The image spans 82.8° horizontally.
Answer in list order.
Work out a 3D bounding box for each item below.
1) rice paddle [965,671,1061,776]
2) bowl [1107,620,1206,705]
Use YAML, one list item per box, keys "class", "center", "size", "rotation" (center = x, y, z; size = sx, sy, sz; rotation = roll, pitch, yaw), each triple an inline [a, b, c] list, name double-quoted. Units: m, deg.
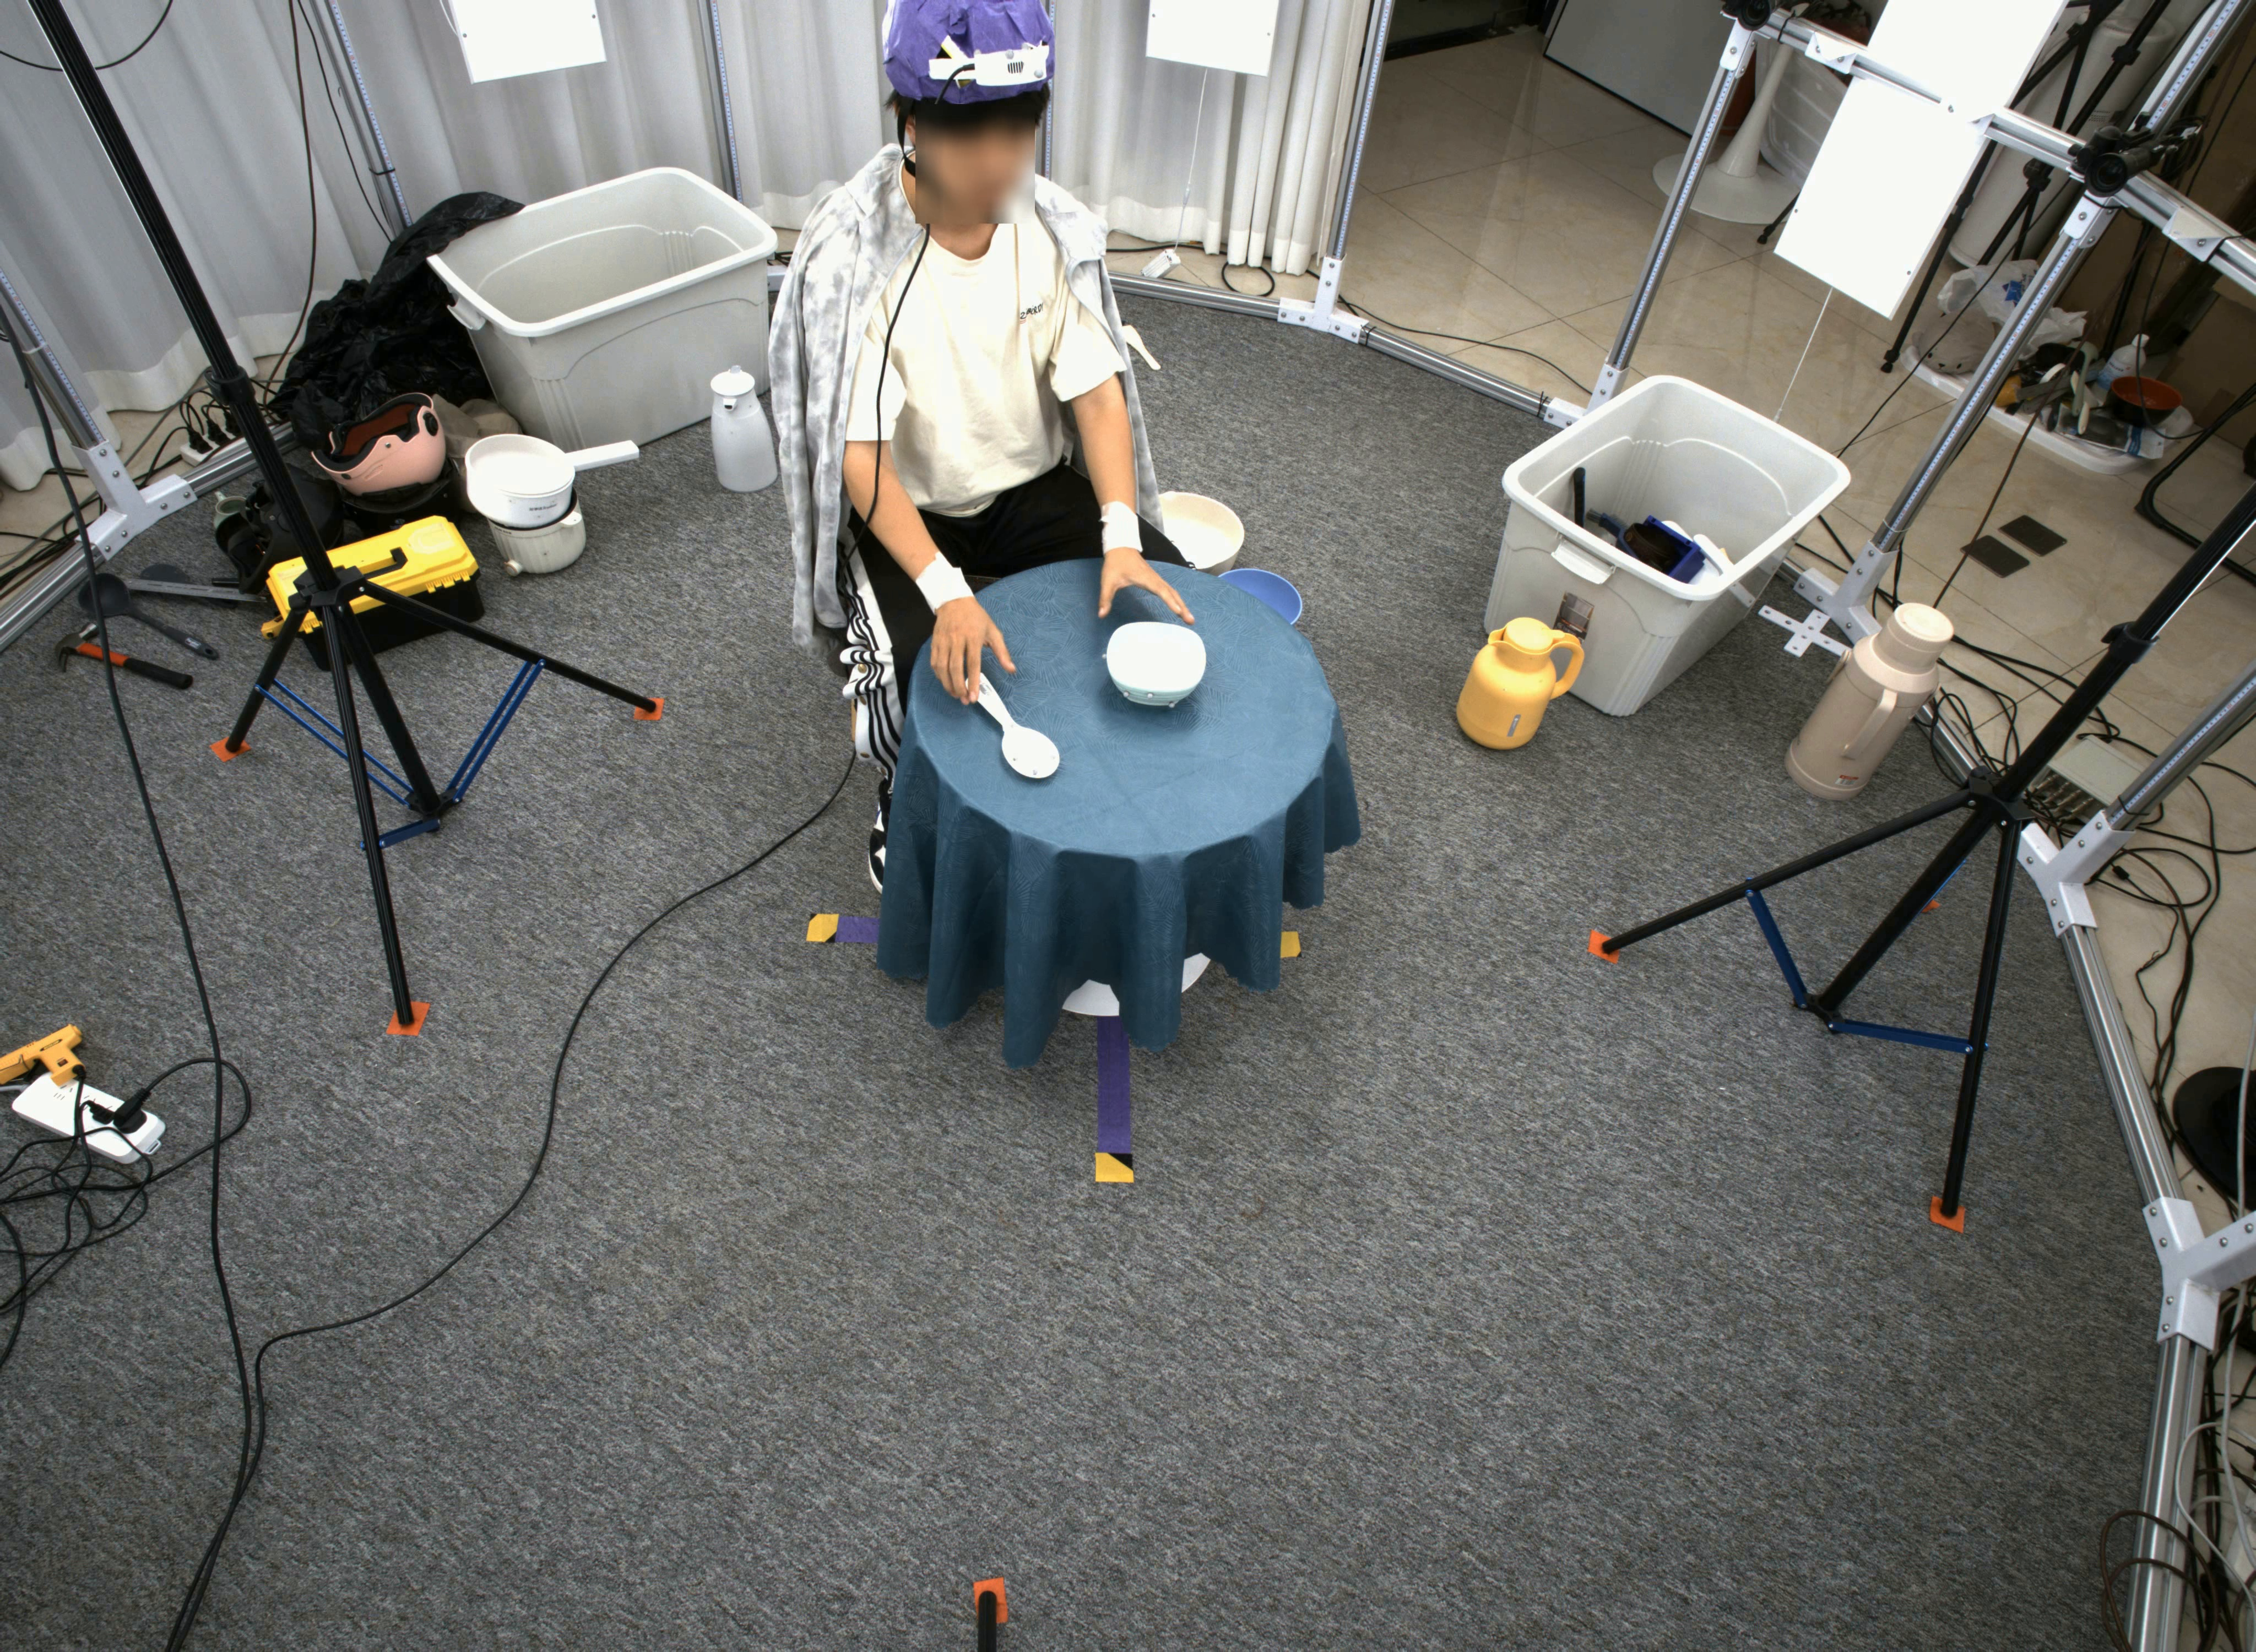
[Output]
- class: "rice paddle"
  center: [-0.160, -0.139, 1.750]
  size: [0.069, 0.029, 0.209]
  rotation: [-25, 55, -22]
- class: "bowl"
  center: [0.039, -0.223, 1.820]
  size: [0.151, 0.057, 0.155]
  rotation: [1, 51, -2]
